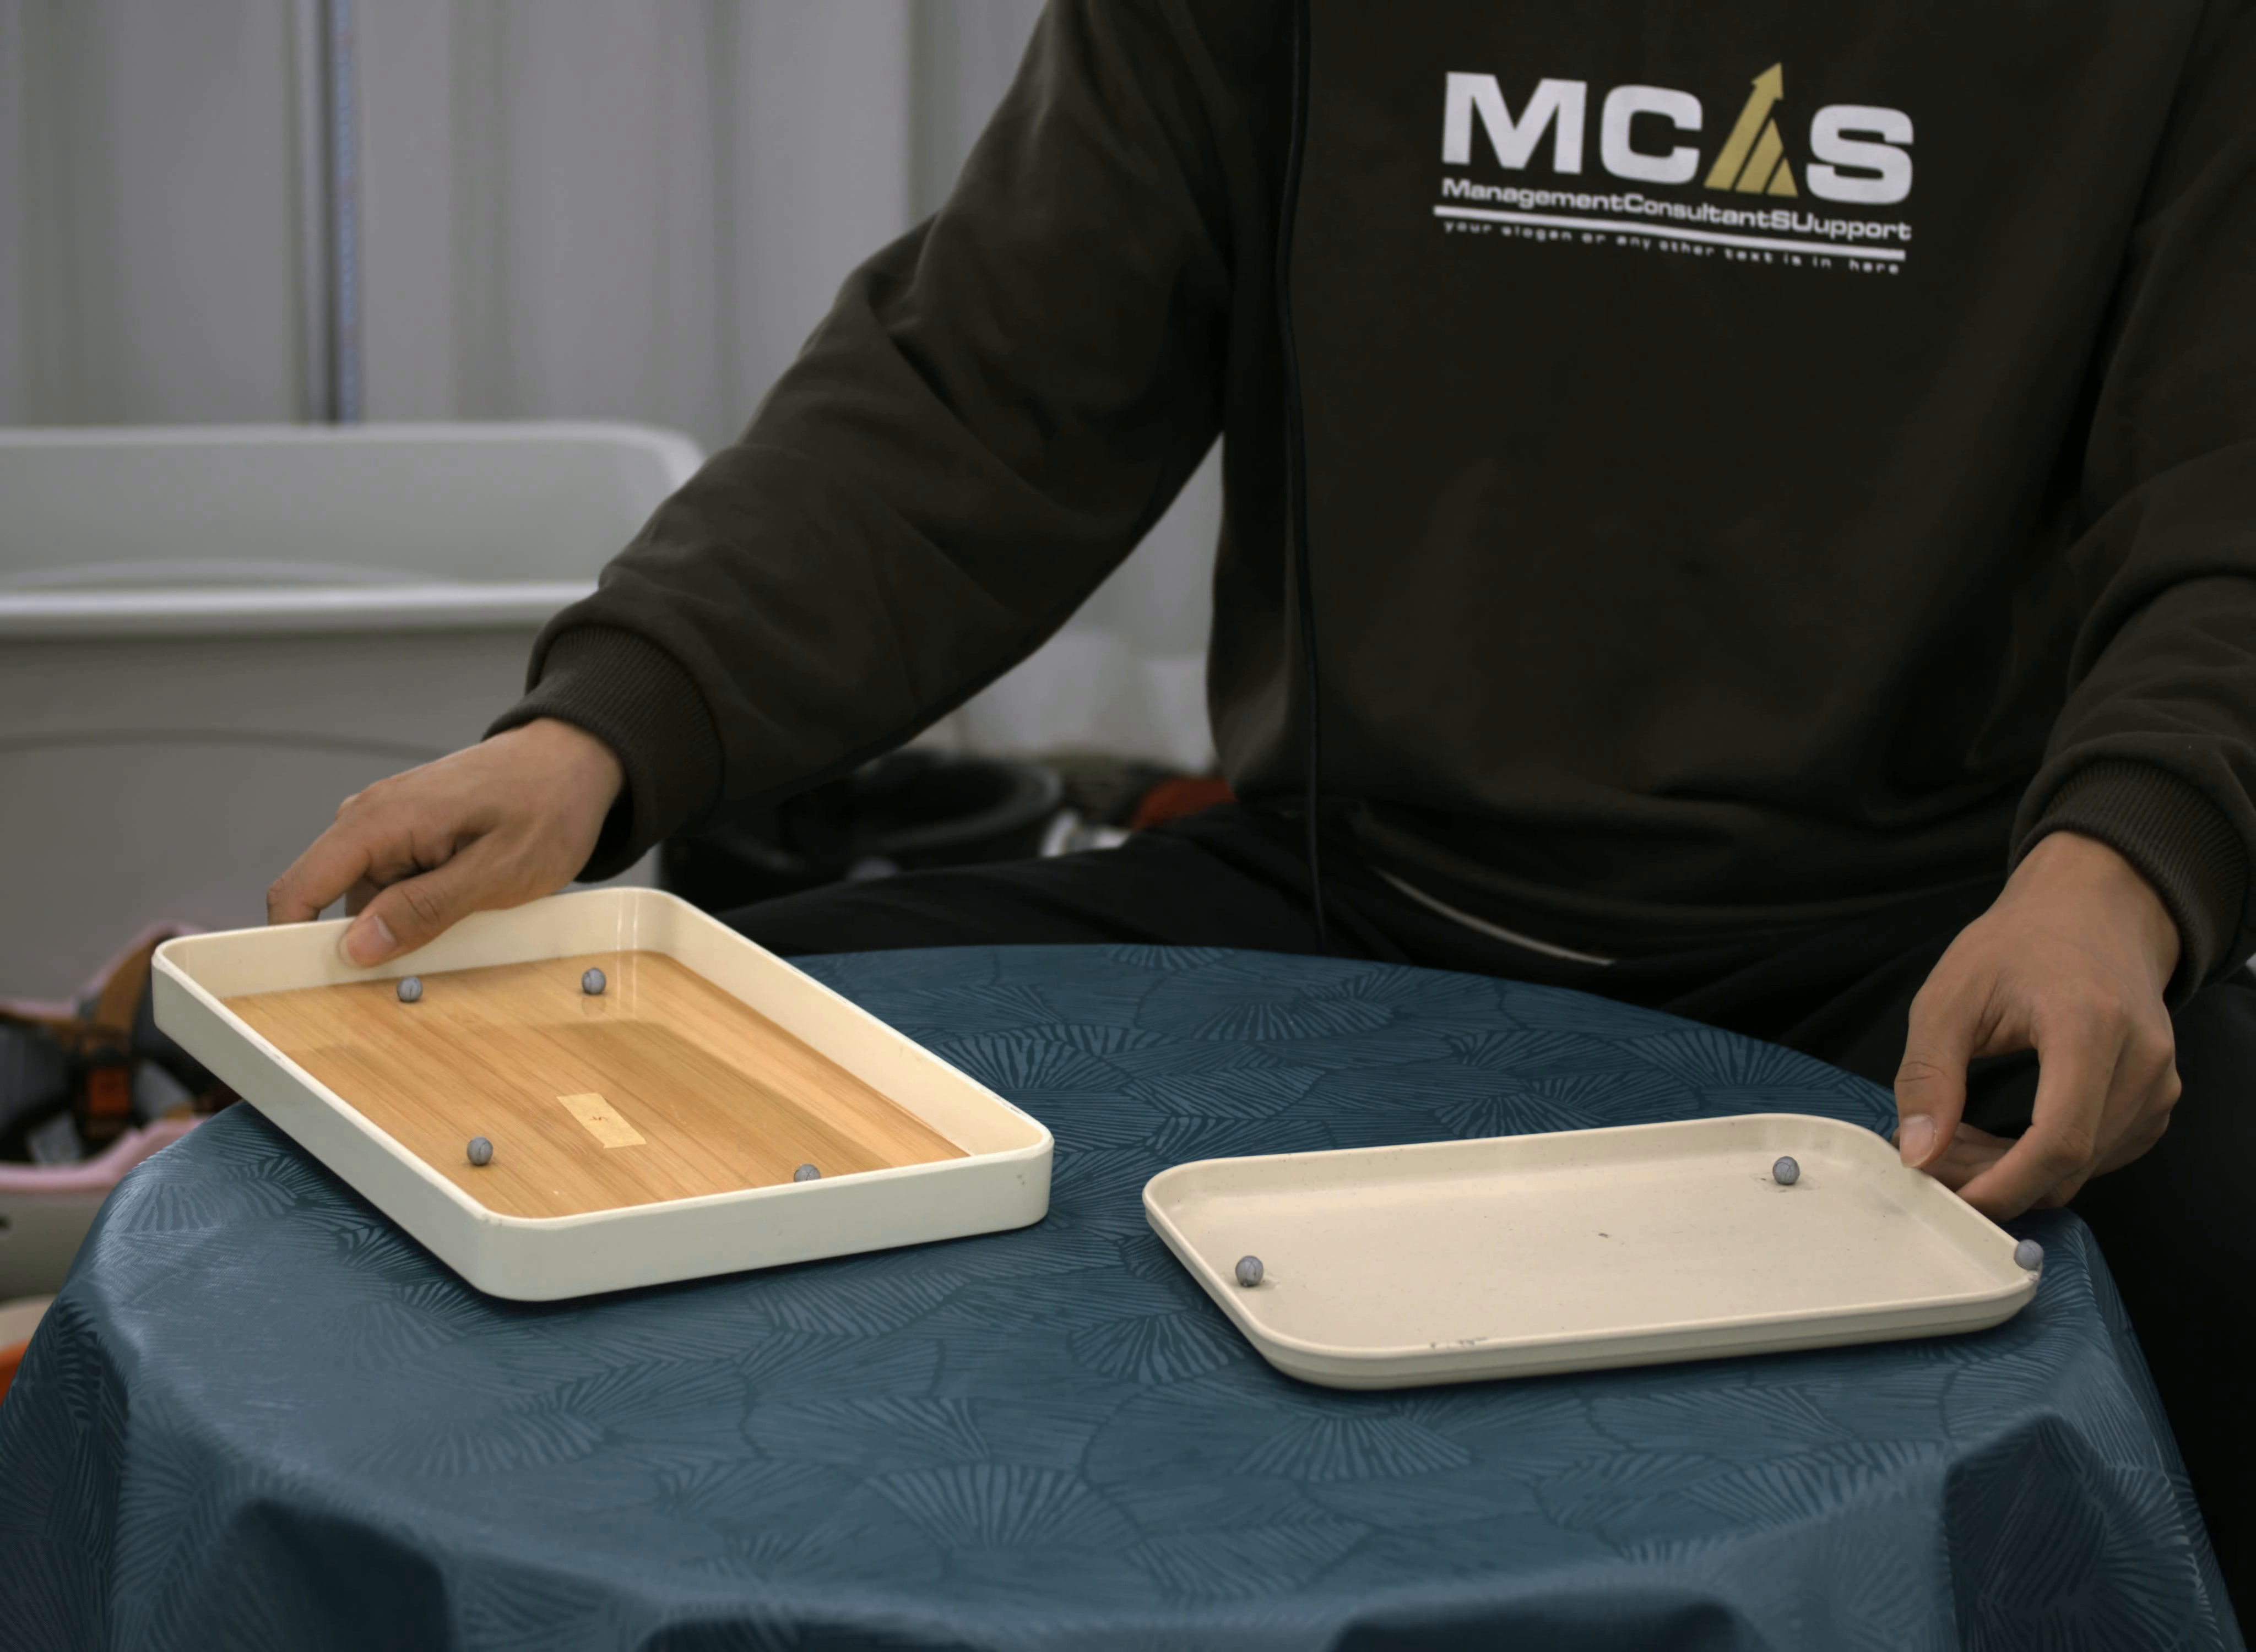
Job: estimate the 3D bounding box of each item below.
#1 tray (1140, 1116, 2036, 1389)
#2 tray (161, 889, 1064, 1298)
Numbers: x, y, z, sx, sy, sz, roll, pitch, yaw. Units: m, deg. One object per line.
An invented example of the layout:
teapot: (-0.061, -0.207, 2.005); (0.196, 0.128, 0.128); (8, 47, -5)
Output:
tray: (0.134, 0.126, 1.559); (0.240, 0.017, 0.169); (-4, 15, -17)
tray: (-0.169, 0.080, 1.670); (0.192, 0.027, 0.296); (-6, 18, -30)
